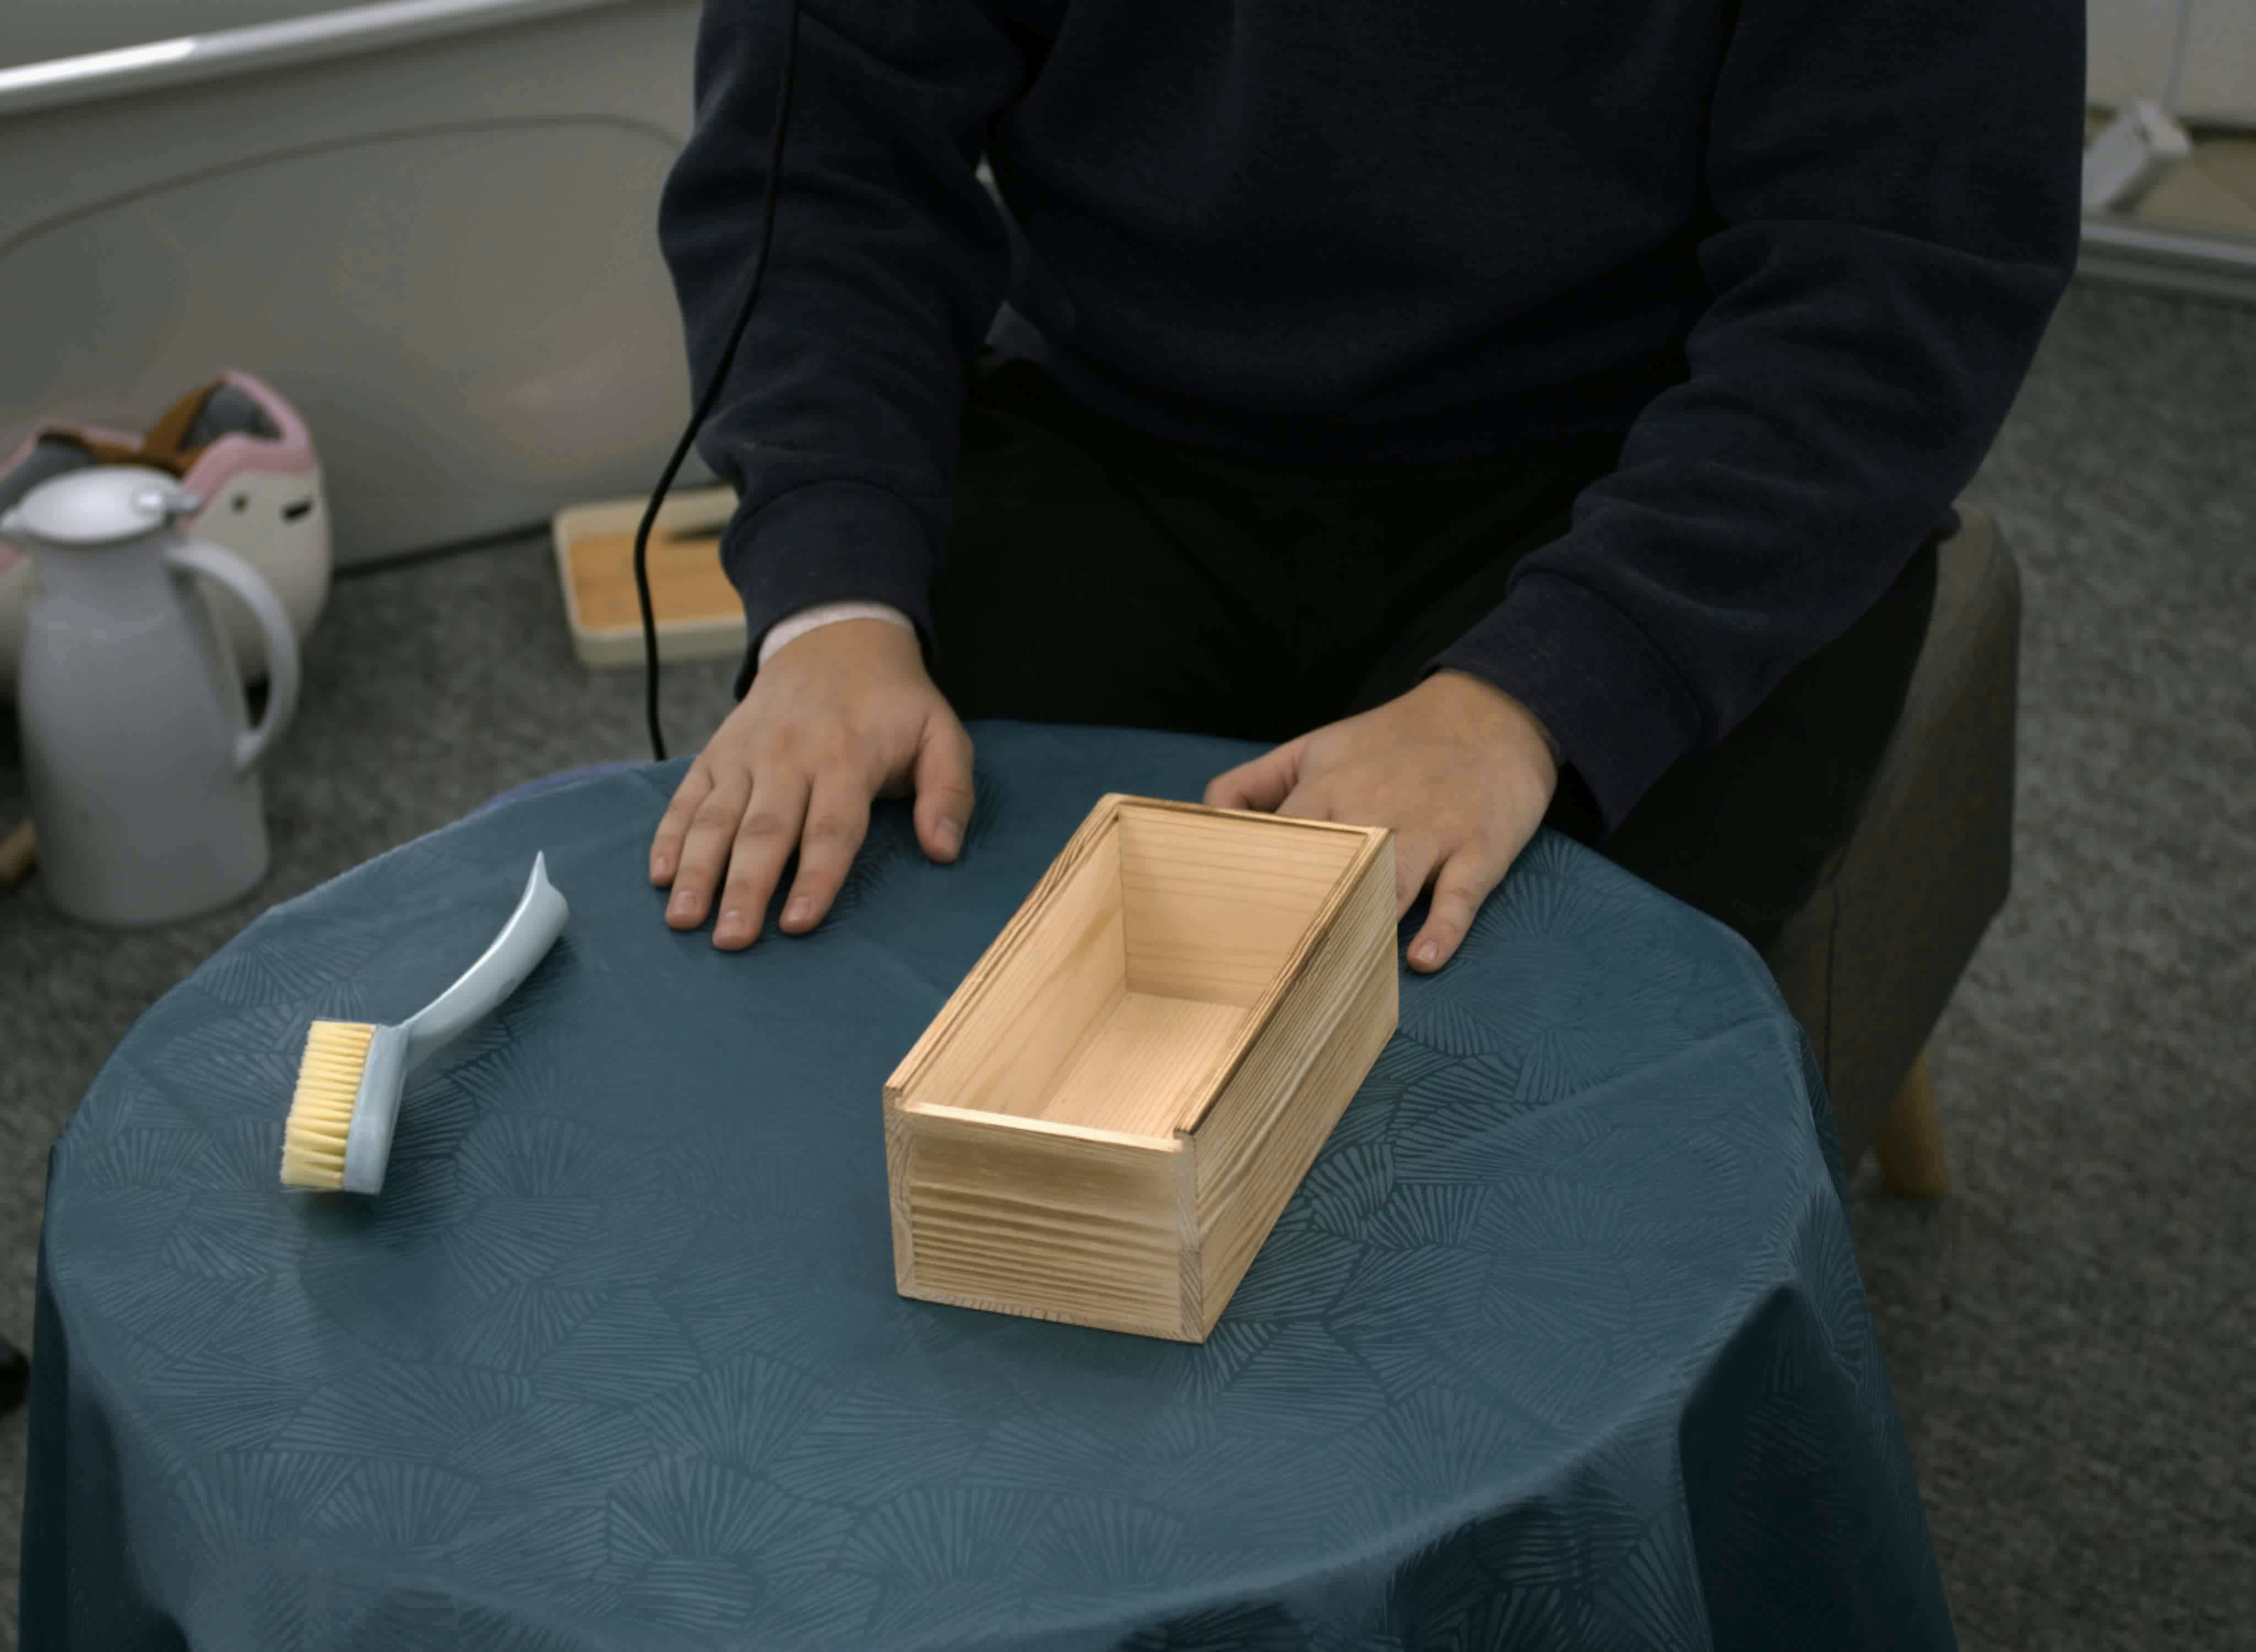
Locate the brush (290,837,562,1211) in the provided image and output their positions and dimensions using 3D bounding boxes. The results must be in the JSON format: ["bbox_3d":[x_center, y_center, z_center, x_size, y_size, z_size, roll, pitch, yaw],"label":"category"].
[{"bbox_3d":[-0.245,0.063,1.957,0.049,0.037,0.233,10,30,9],"label":"brush"}]

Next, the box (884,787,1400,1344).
[{"bbox_3d":[0.009,0.076,1.866,0.107,0.079,0.215,7,29,18],"label":"box"}]
